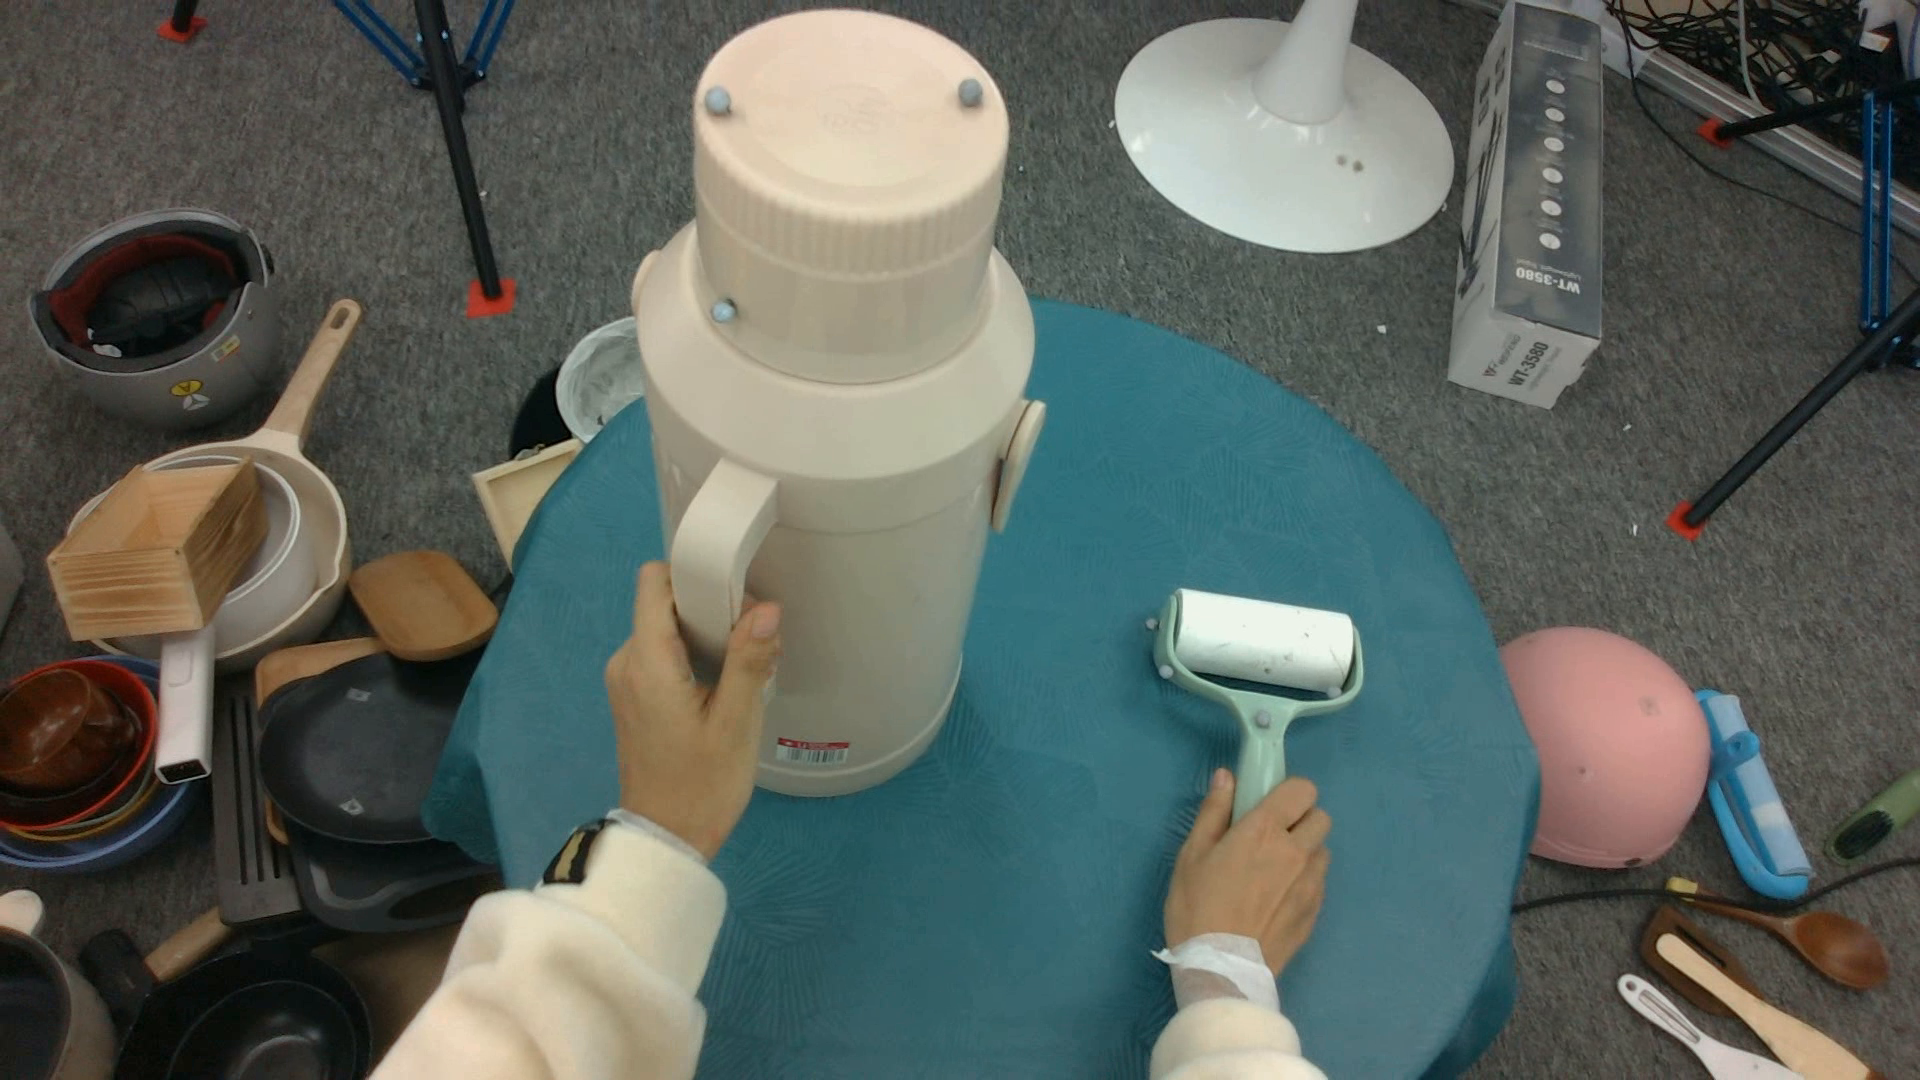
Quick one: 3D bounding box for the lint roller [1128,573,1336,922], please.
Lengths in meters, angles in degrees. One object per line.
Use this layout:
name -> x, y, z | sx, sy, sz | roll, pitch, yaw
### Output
lint roller -> 0.149, 0.109, 0.761 | 0.116, 0.048, 0.198 | 11, 54, -3

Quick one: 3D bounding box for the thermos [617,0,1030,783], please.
thermos -> -0.071, -0.030, 0.616 | 0.175, 0.404, 0.208 | 22, 57, 6
